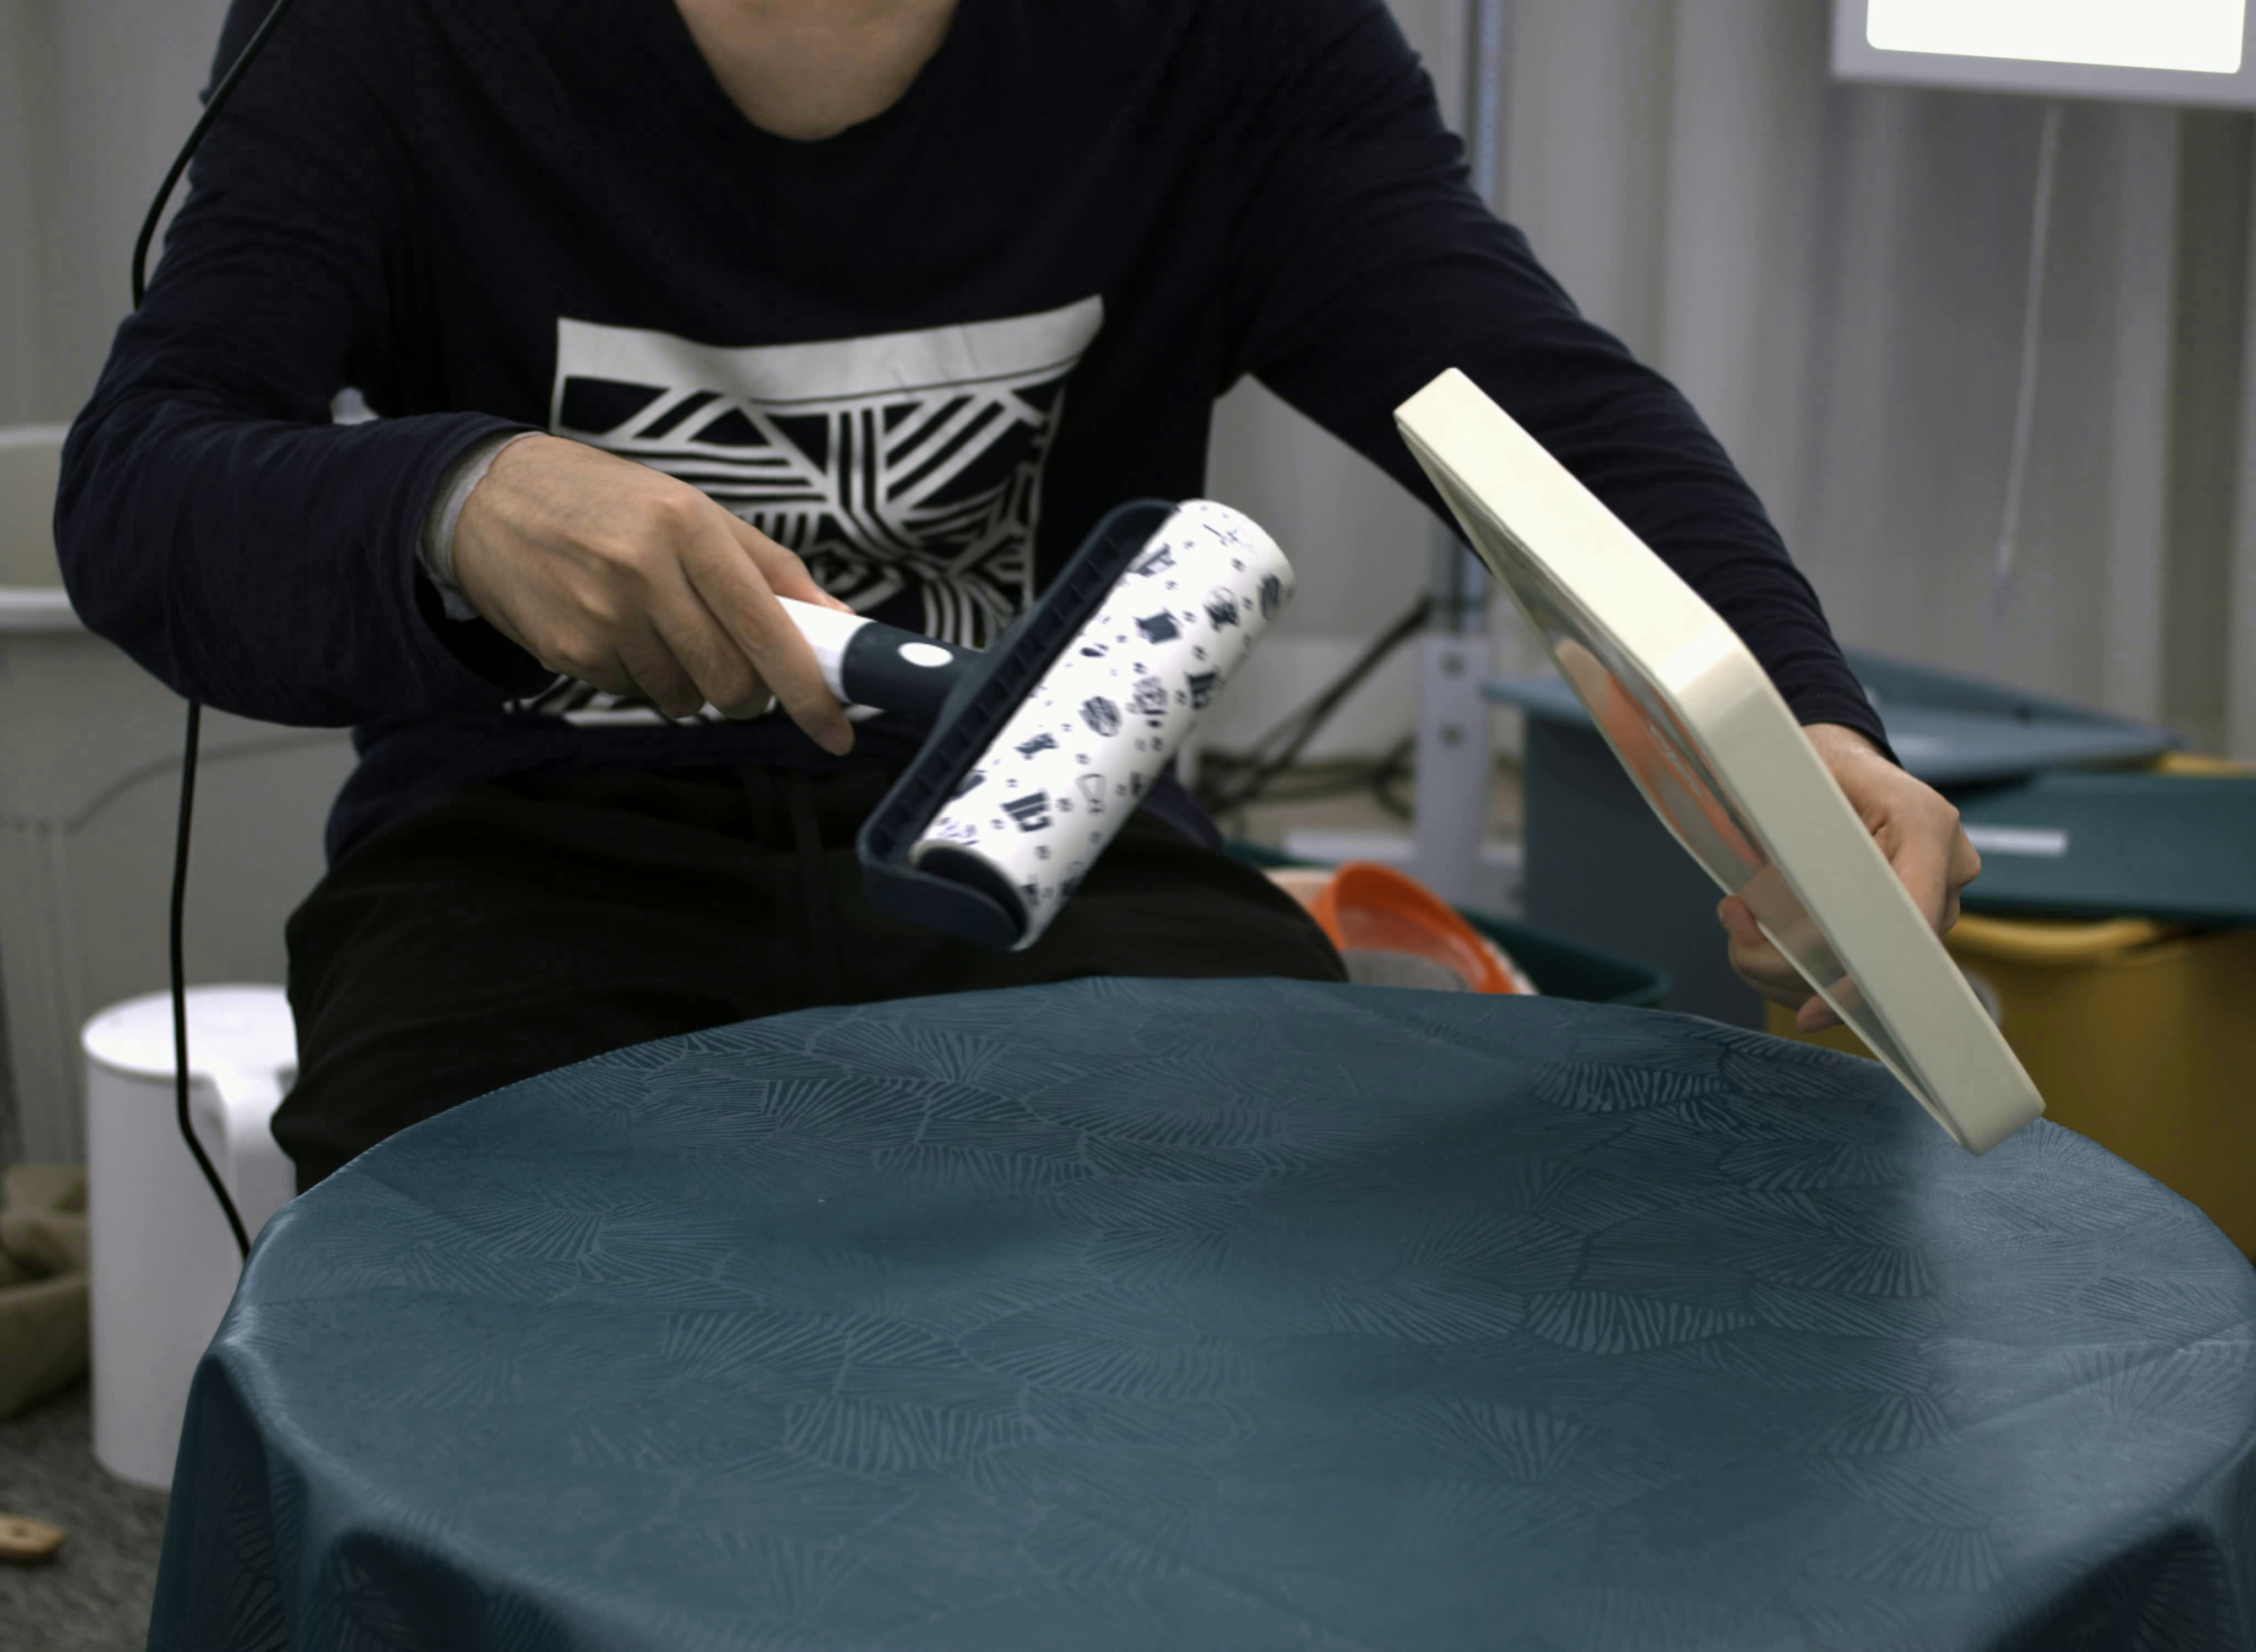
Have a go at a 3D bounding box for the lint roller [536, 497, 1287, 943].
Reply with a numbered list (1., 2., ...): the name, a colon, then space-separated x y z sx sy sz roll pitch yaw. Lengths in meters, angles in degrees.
1. lint roller: -0.092 -0.054 1.686 0.244 0.051 0.176 14 51 27

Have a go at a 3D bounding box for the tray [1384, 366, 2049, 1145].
1. tray: 0.173 -0.027 1.610 0.027 0.194 0.297 -38 24 2
